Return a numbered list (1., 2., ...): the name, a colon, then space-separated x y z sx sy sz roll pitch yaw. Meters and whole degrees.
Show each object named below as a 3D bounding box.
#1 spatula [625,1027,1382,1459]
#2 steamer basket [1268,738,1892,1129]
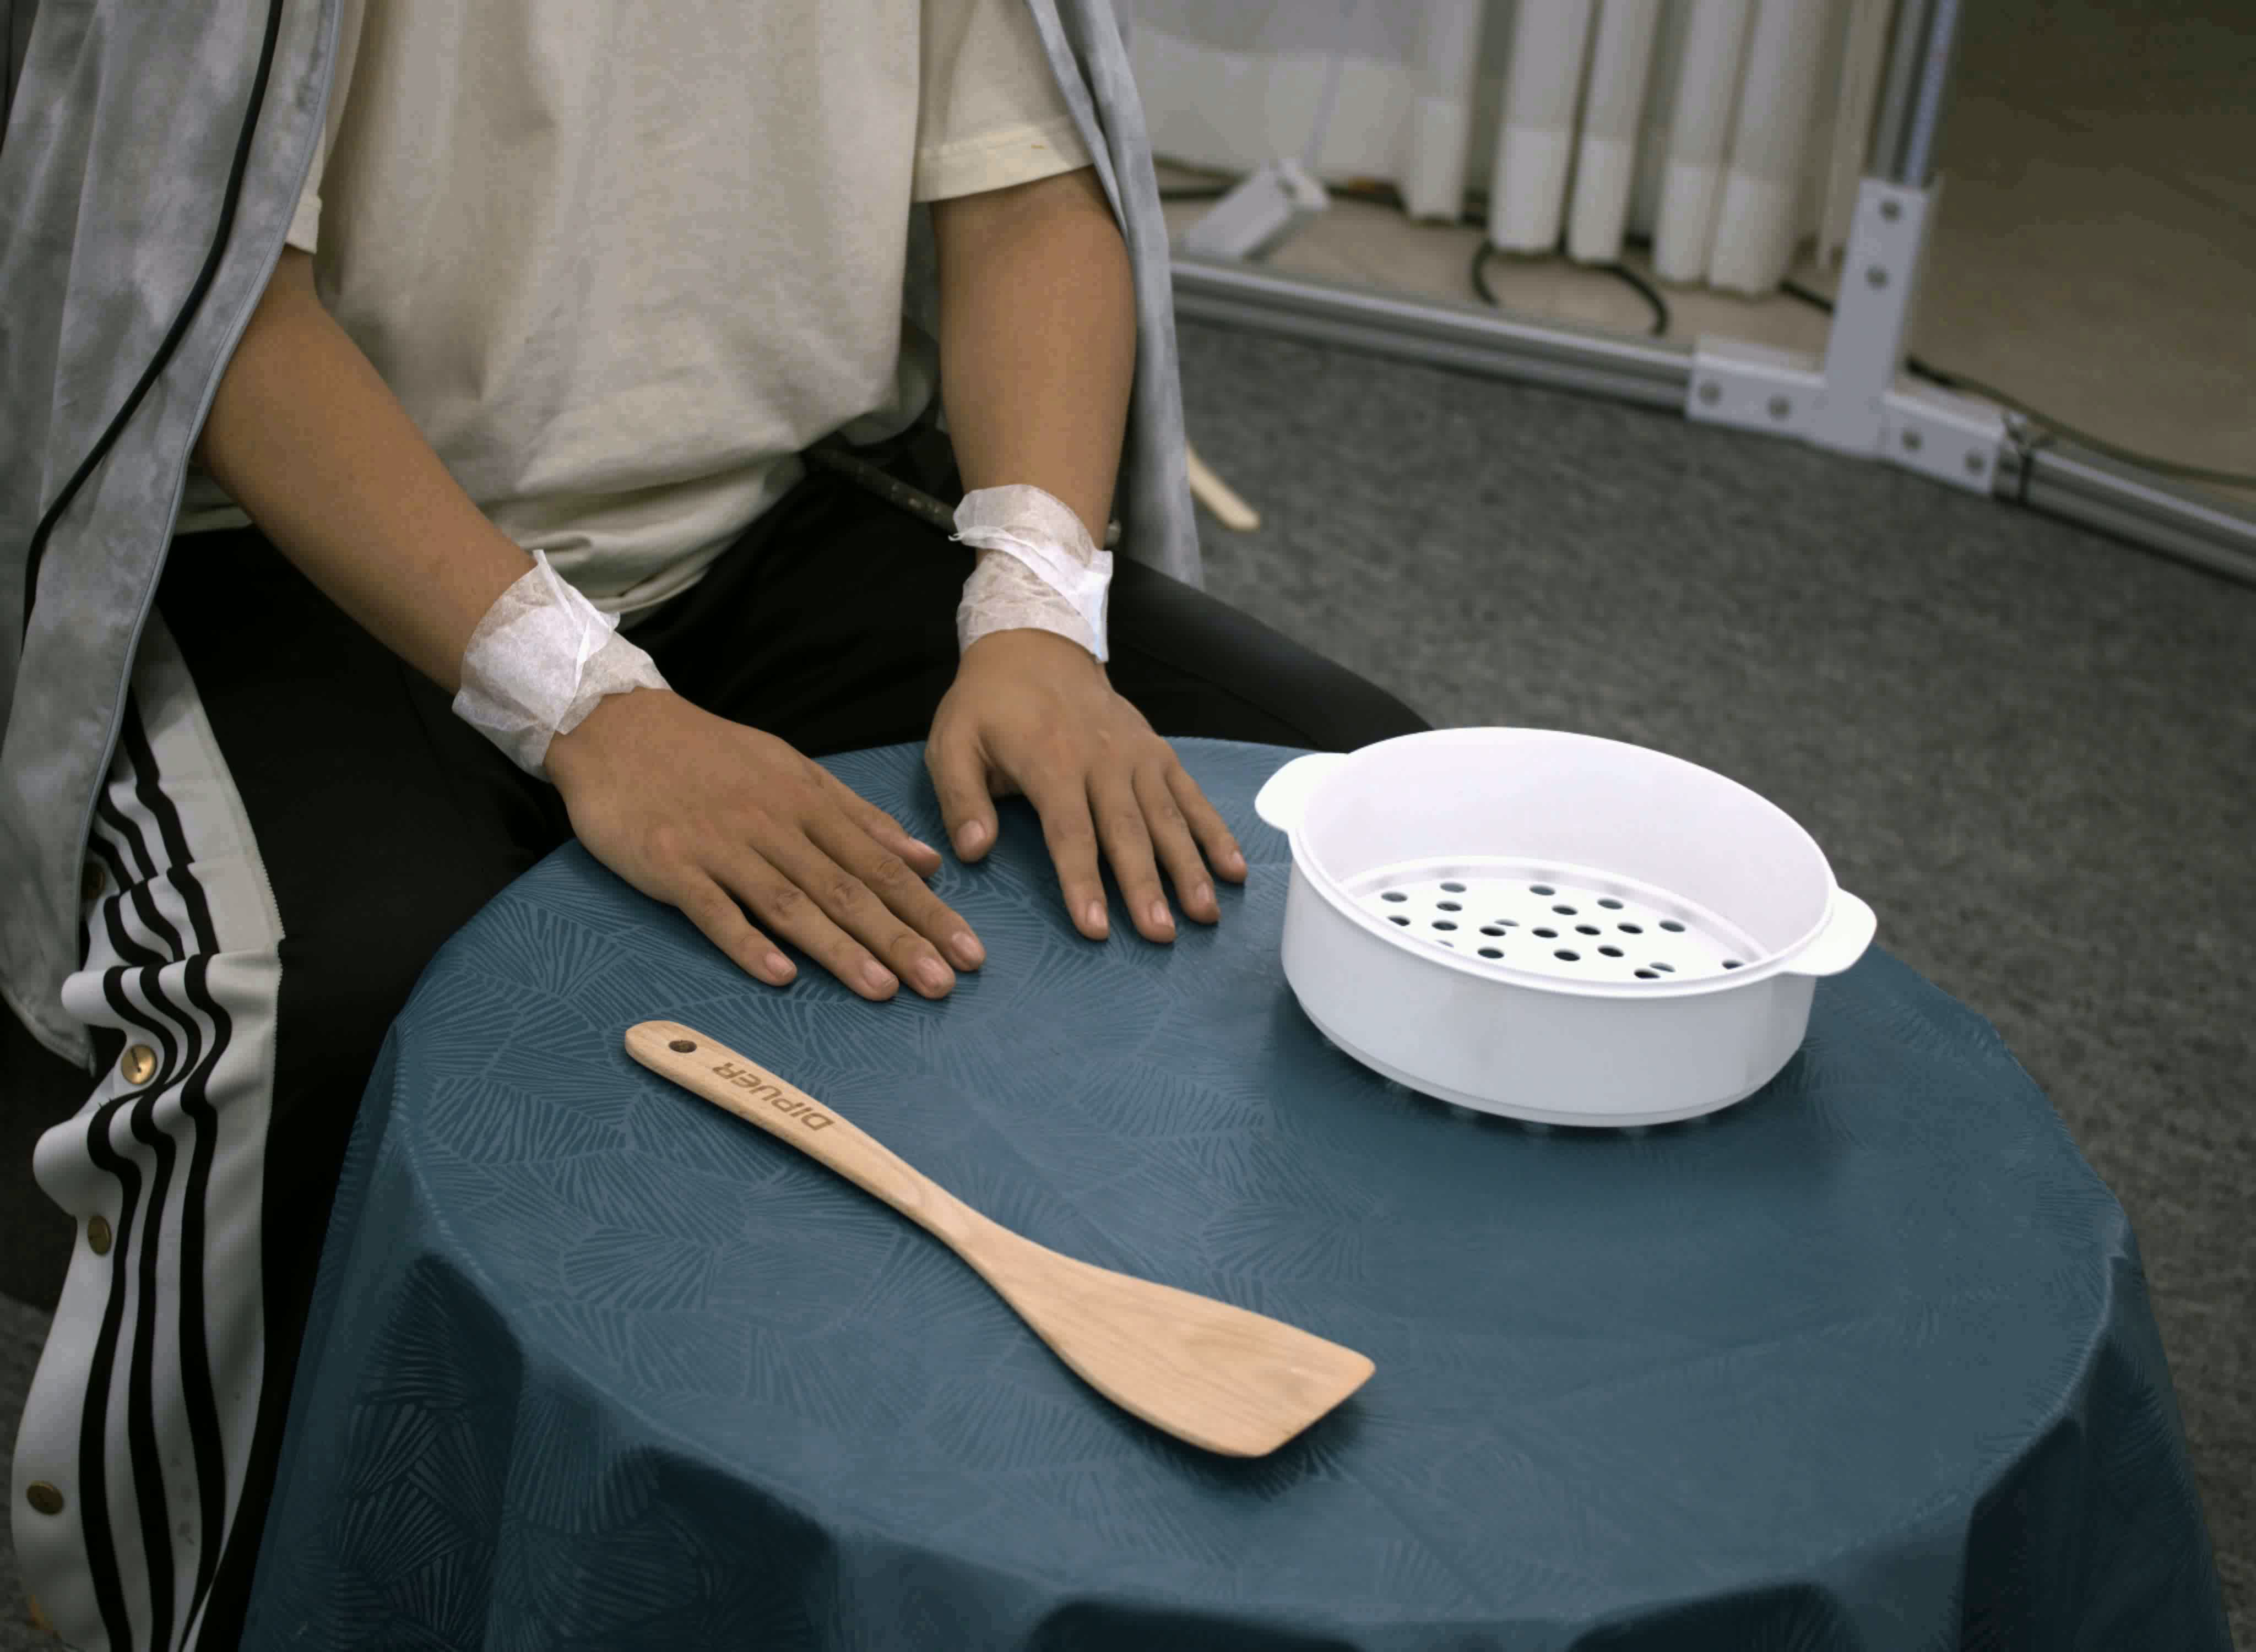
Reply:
1. spatula: -0.052 0.131 1.760 0.330 0.016 0.079 27 33 36
2. steamer basket: 0.159 0.039 1.933 0.231 0.069 0.202 16 27 19
